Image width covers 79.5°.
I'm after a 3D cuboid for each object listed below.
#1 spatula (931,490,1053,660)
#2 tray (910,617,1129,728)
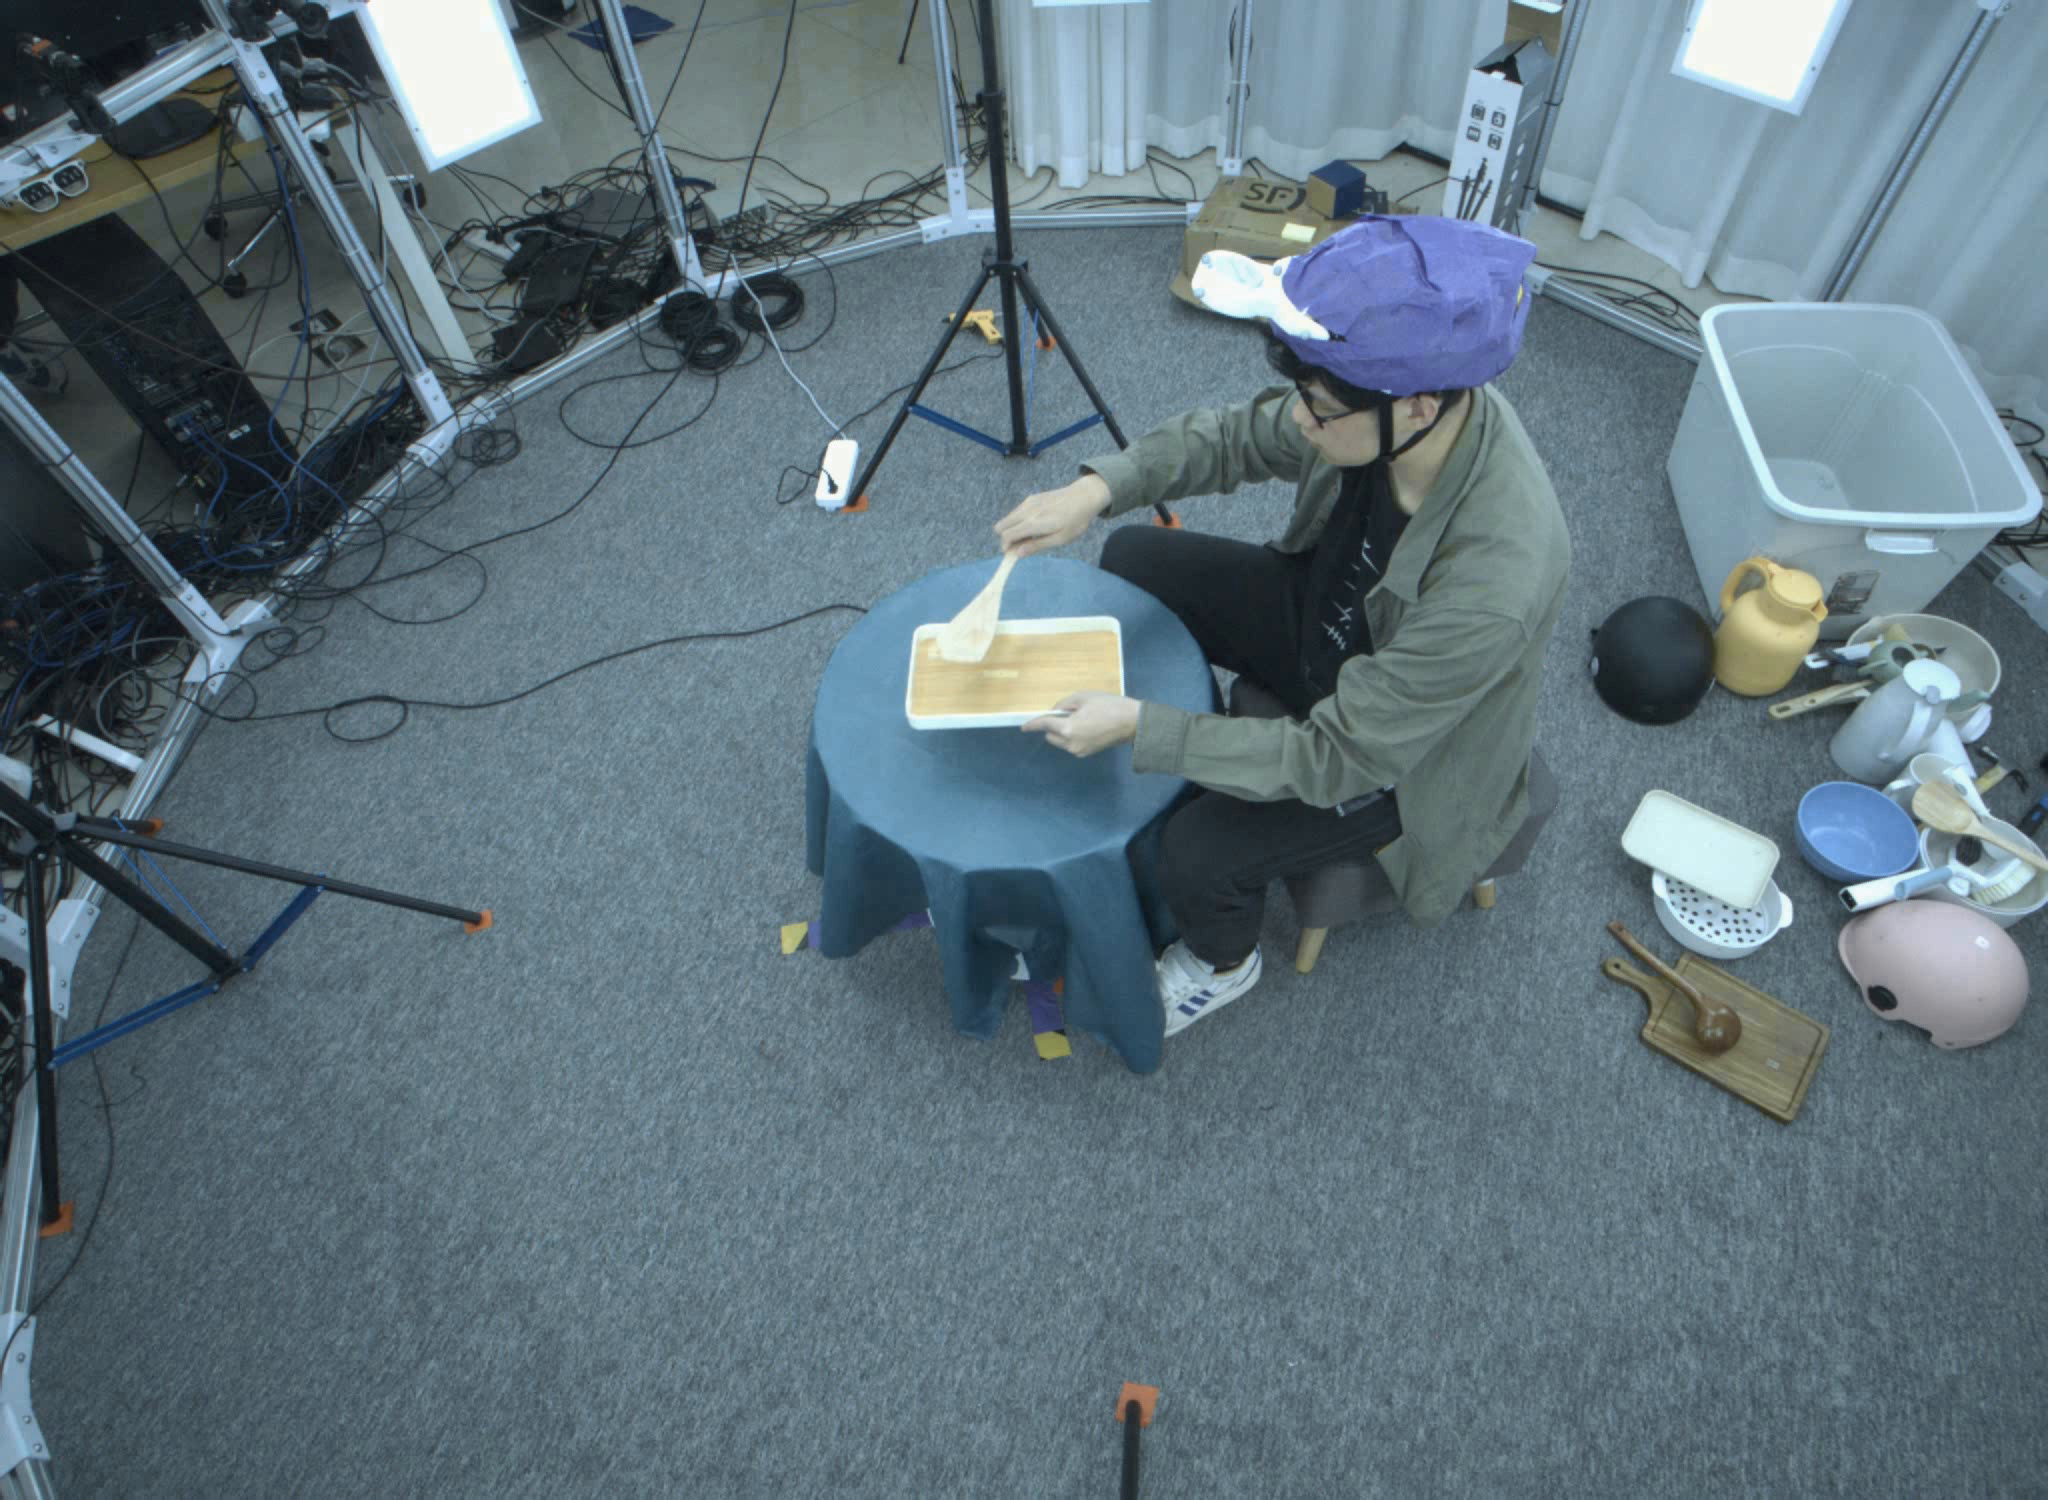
[{"bbox_3d":[-0.030,-0.250,1.721,0.079,0.017,0.327,16,63,18],"label":"spatula"},{"bbox_3d":[-0.005,-0.111,1.735,0.300,0.028,0.189,-1,50,1],"label":"tray"}]
